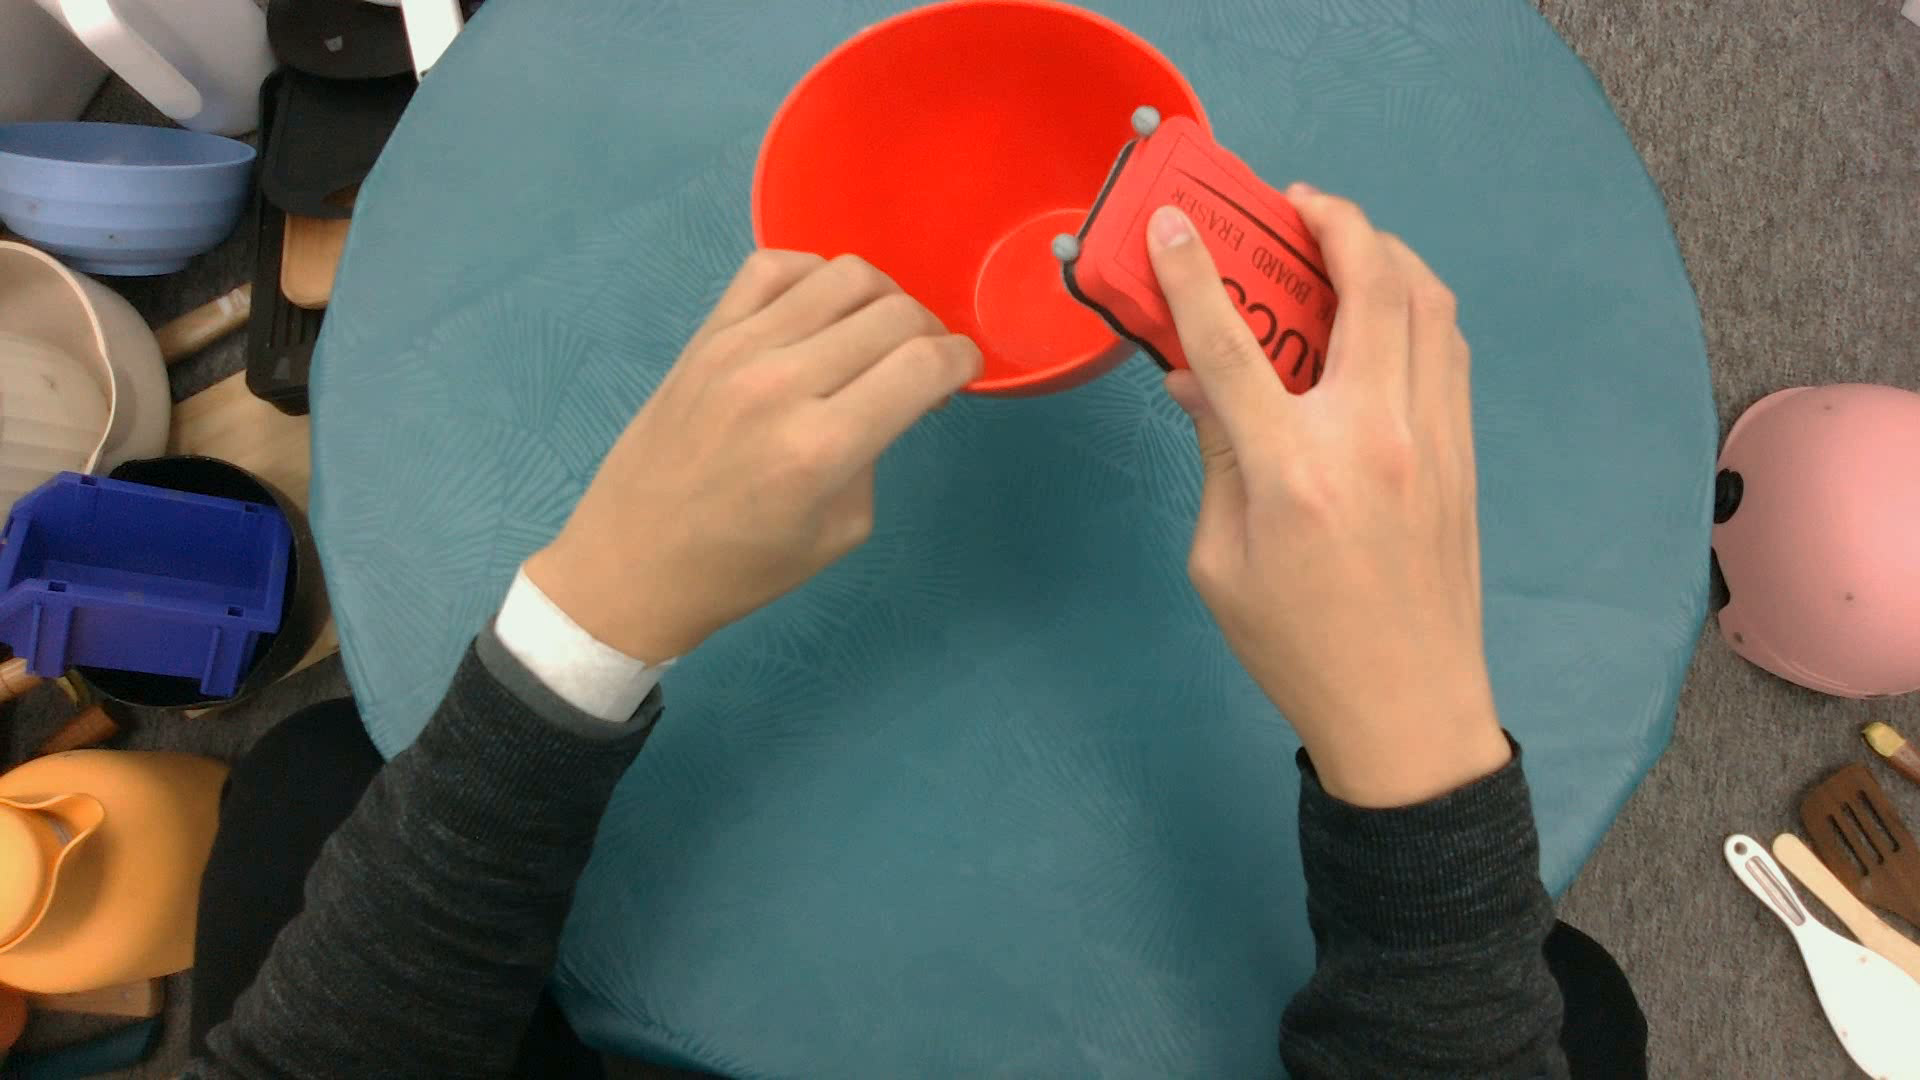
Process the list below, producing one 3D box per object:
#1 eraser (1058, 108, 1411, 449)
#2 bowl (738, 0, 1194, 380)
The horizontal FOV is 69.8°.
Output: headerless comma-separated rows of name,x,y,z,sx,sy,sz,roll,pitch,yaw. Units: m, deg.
eraser,0.085,-0.077,0.416,0.108,0.023,0.059,32,73,-19
bowl,0.010,-0.110,0.481,0.148,0.104,0.148,-4,74,13
